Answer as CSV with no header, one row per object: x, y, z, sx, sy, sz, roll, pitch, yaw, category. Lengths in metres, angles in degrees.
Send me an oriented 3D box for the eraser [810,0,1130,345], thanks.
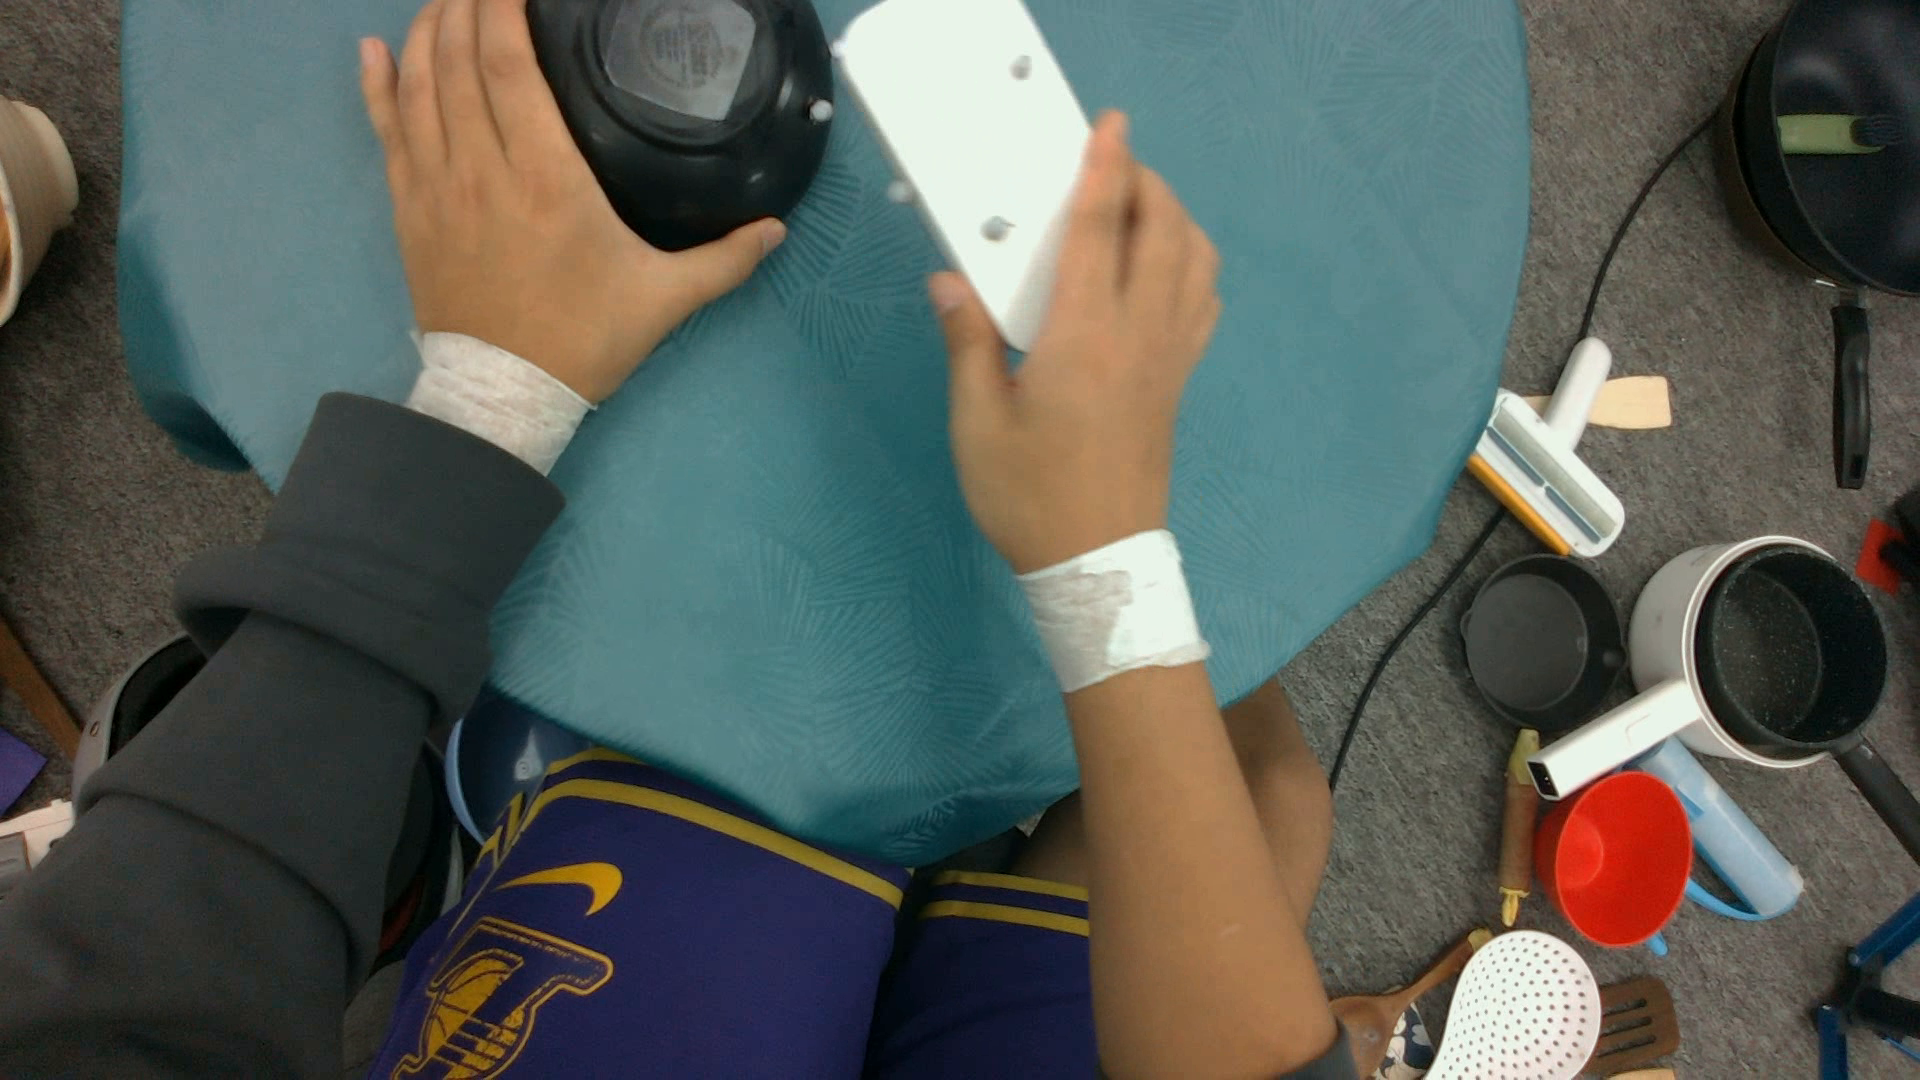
0.002,-0.132,0.481,0.063,0.034,0.131,-35,98,-9,eraser

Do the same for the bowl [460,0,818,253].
-0.114,-0.182,0.523,0.140,0.049,0.140,0,90,-26,bowl
